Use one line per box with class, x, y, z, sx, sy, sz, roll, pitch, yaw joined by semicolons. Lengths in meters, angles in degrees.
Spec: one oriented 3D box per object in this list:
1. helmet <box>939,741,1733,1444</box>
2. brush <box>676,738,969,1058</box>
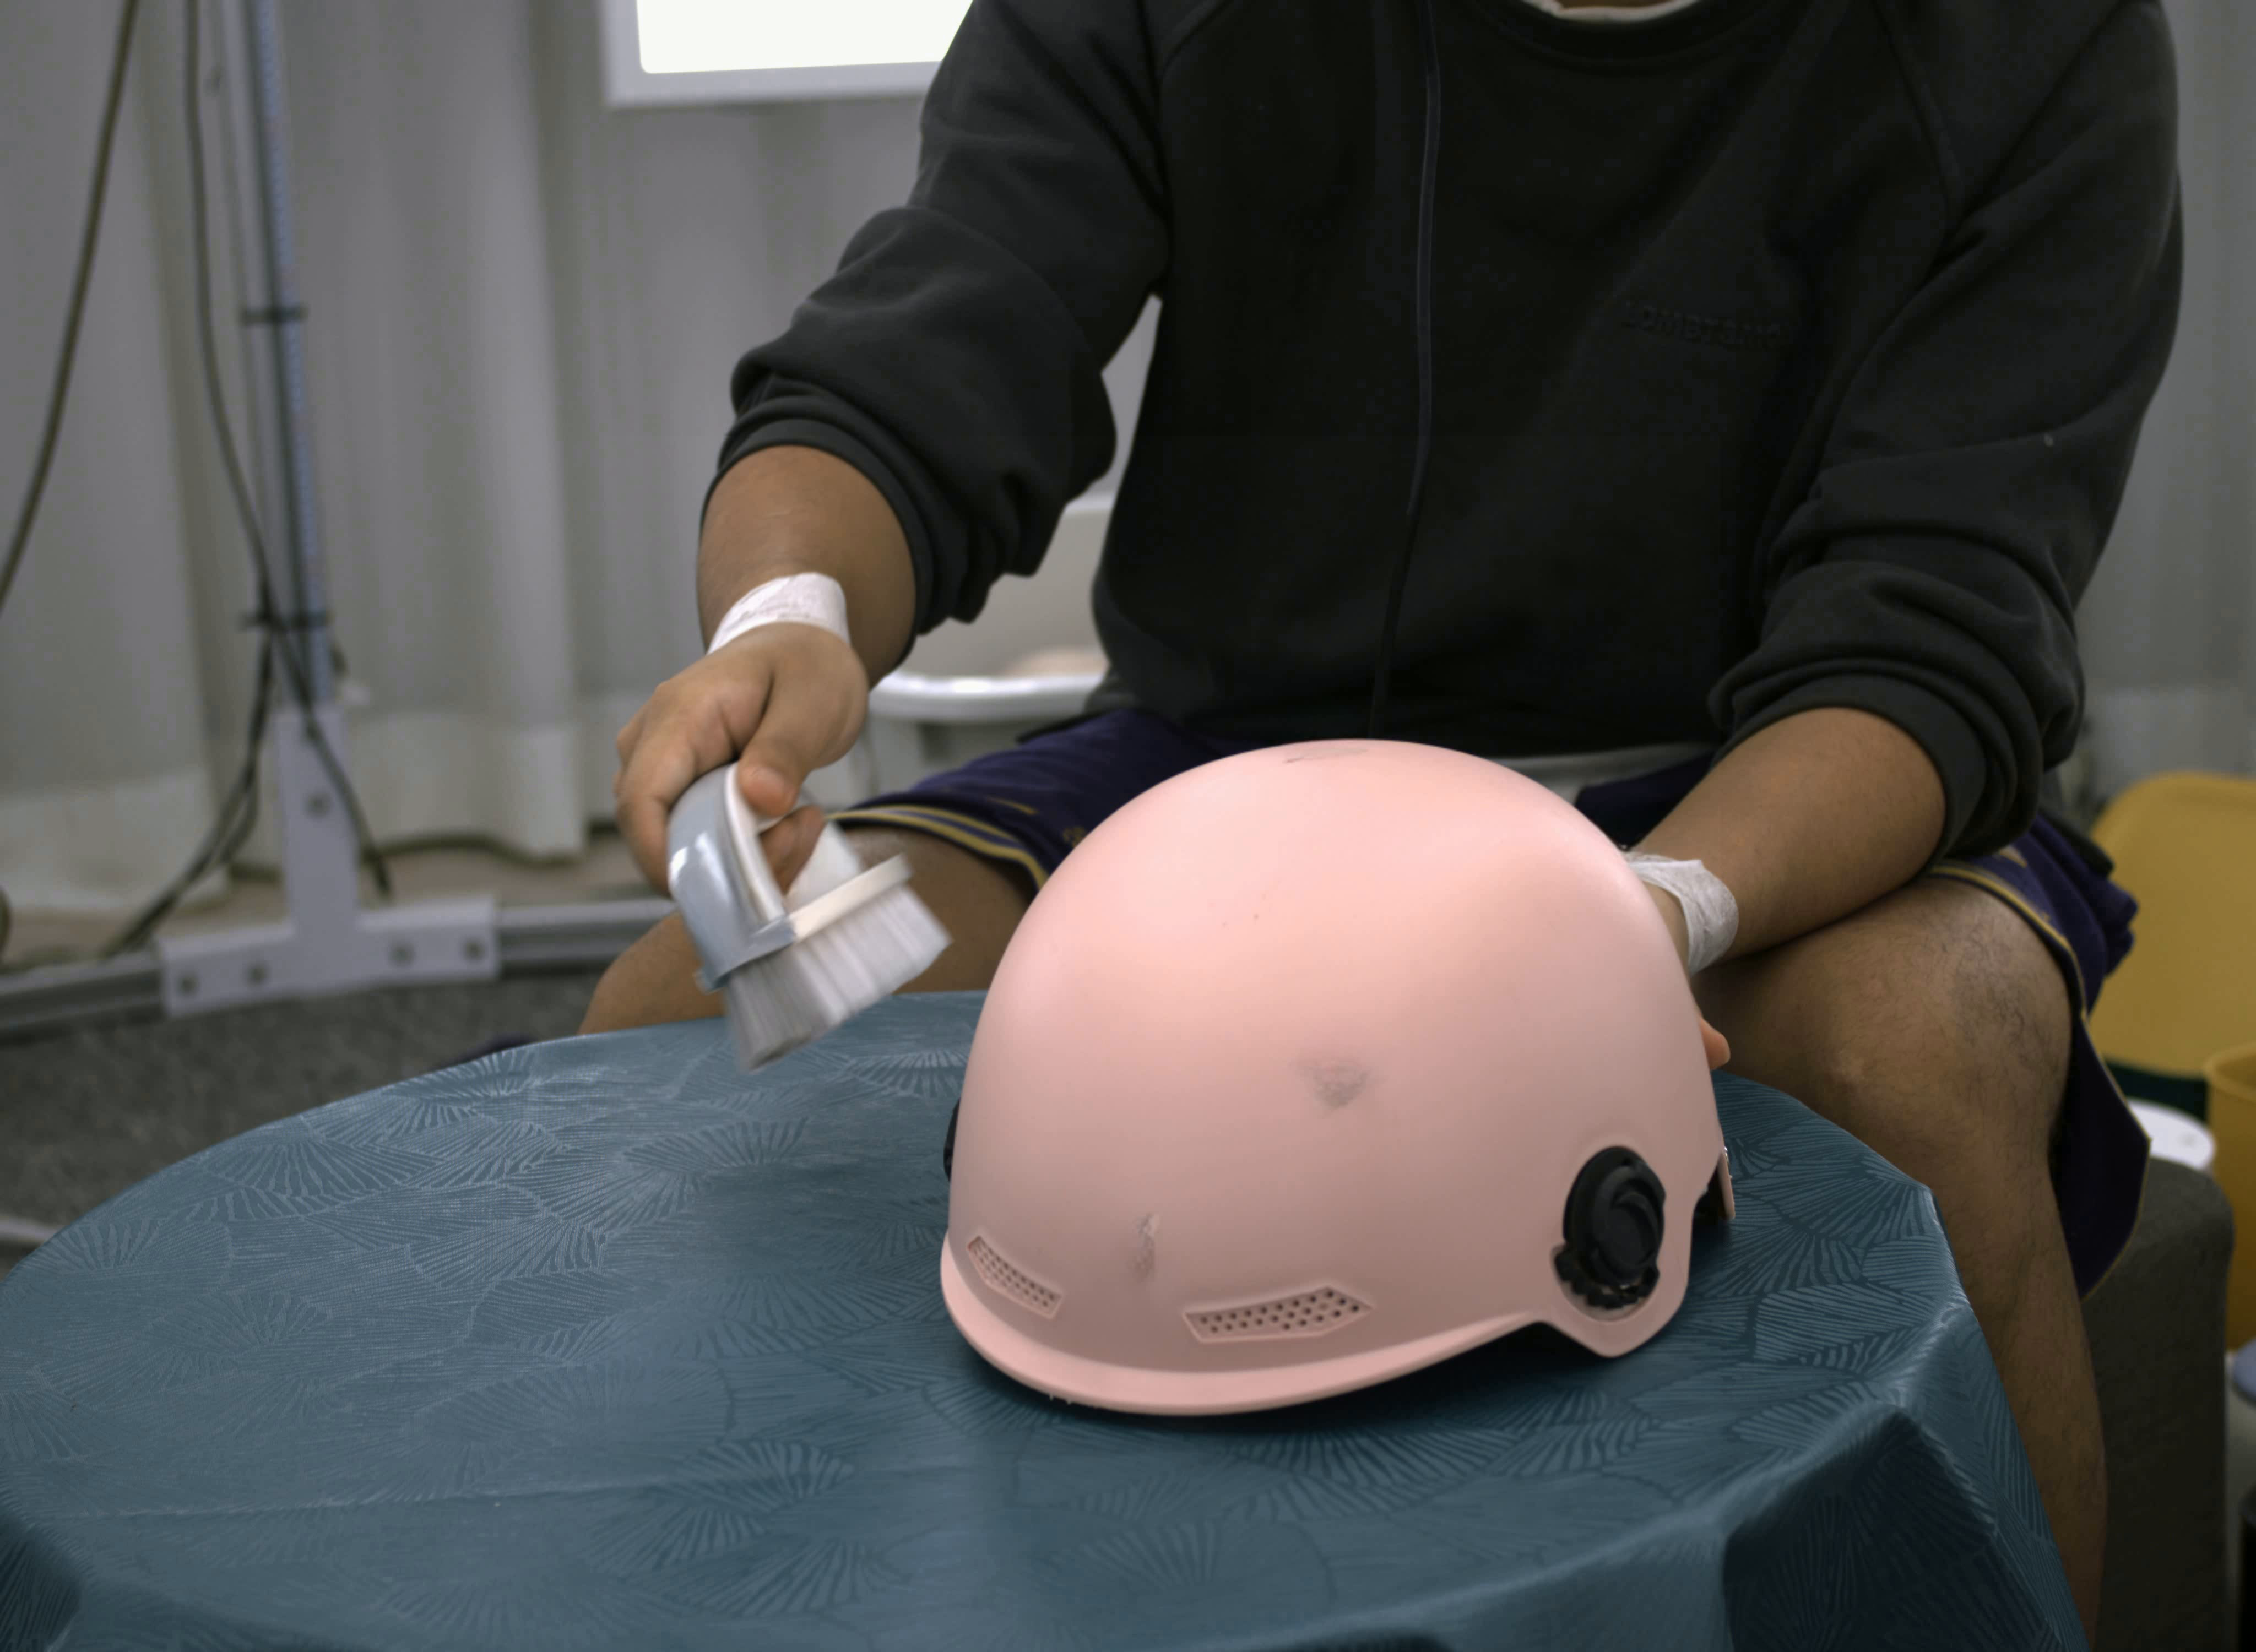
helmet;0.056;0.063;1.607;0.234;0.158;0.267;6;22;29
brush;-0.105;0.018;1.703;0.061;0.094;0.176;-34;2;13
